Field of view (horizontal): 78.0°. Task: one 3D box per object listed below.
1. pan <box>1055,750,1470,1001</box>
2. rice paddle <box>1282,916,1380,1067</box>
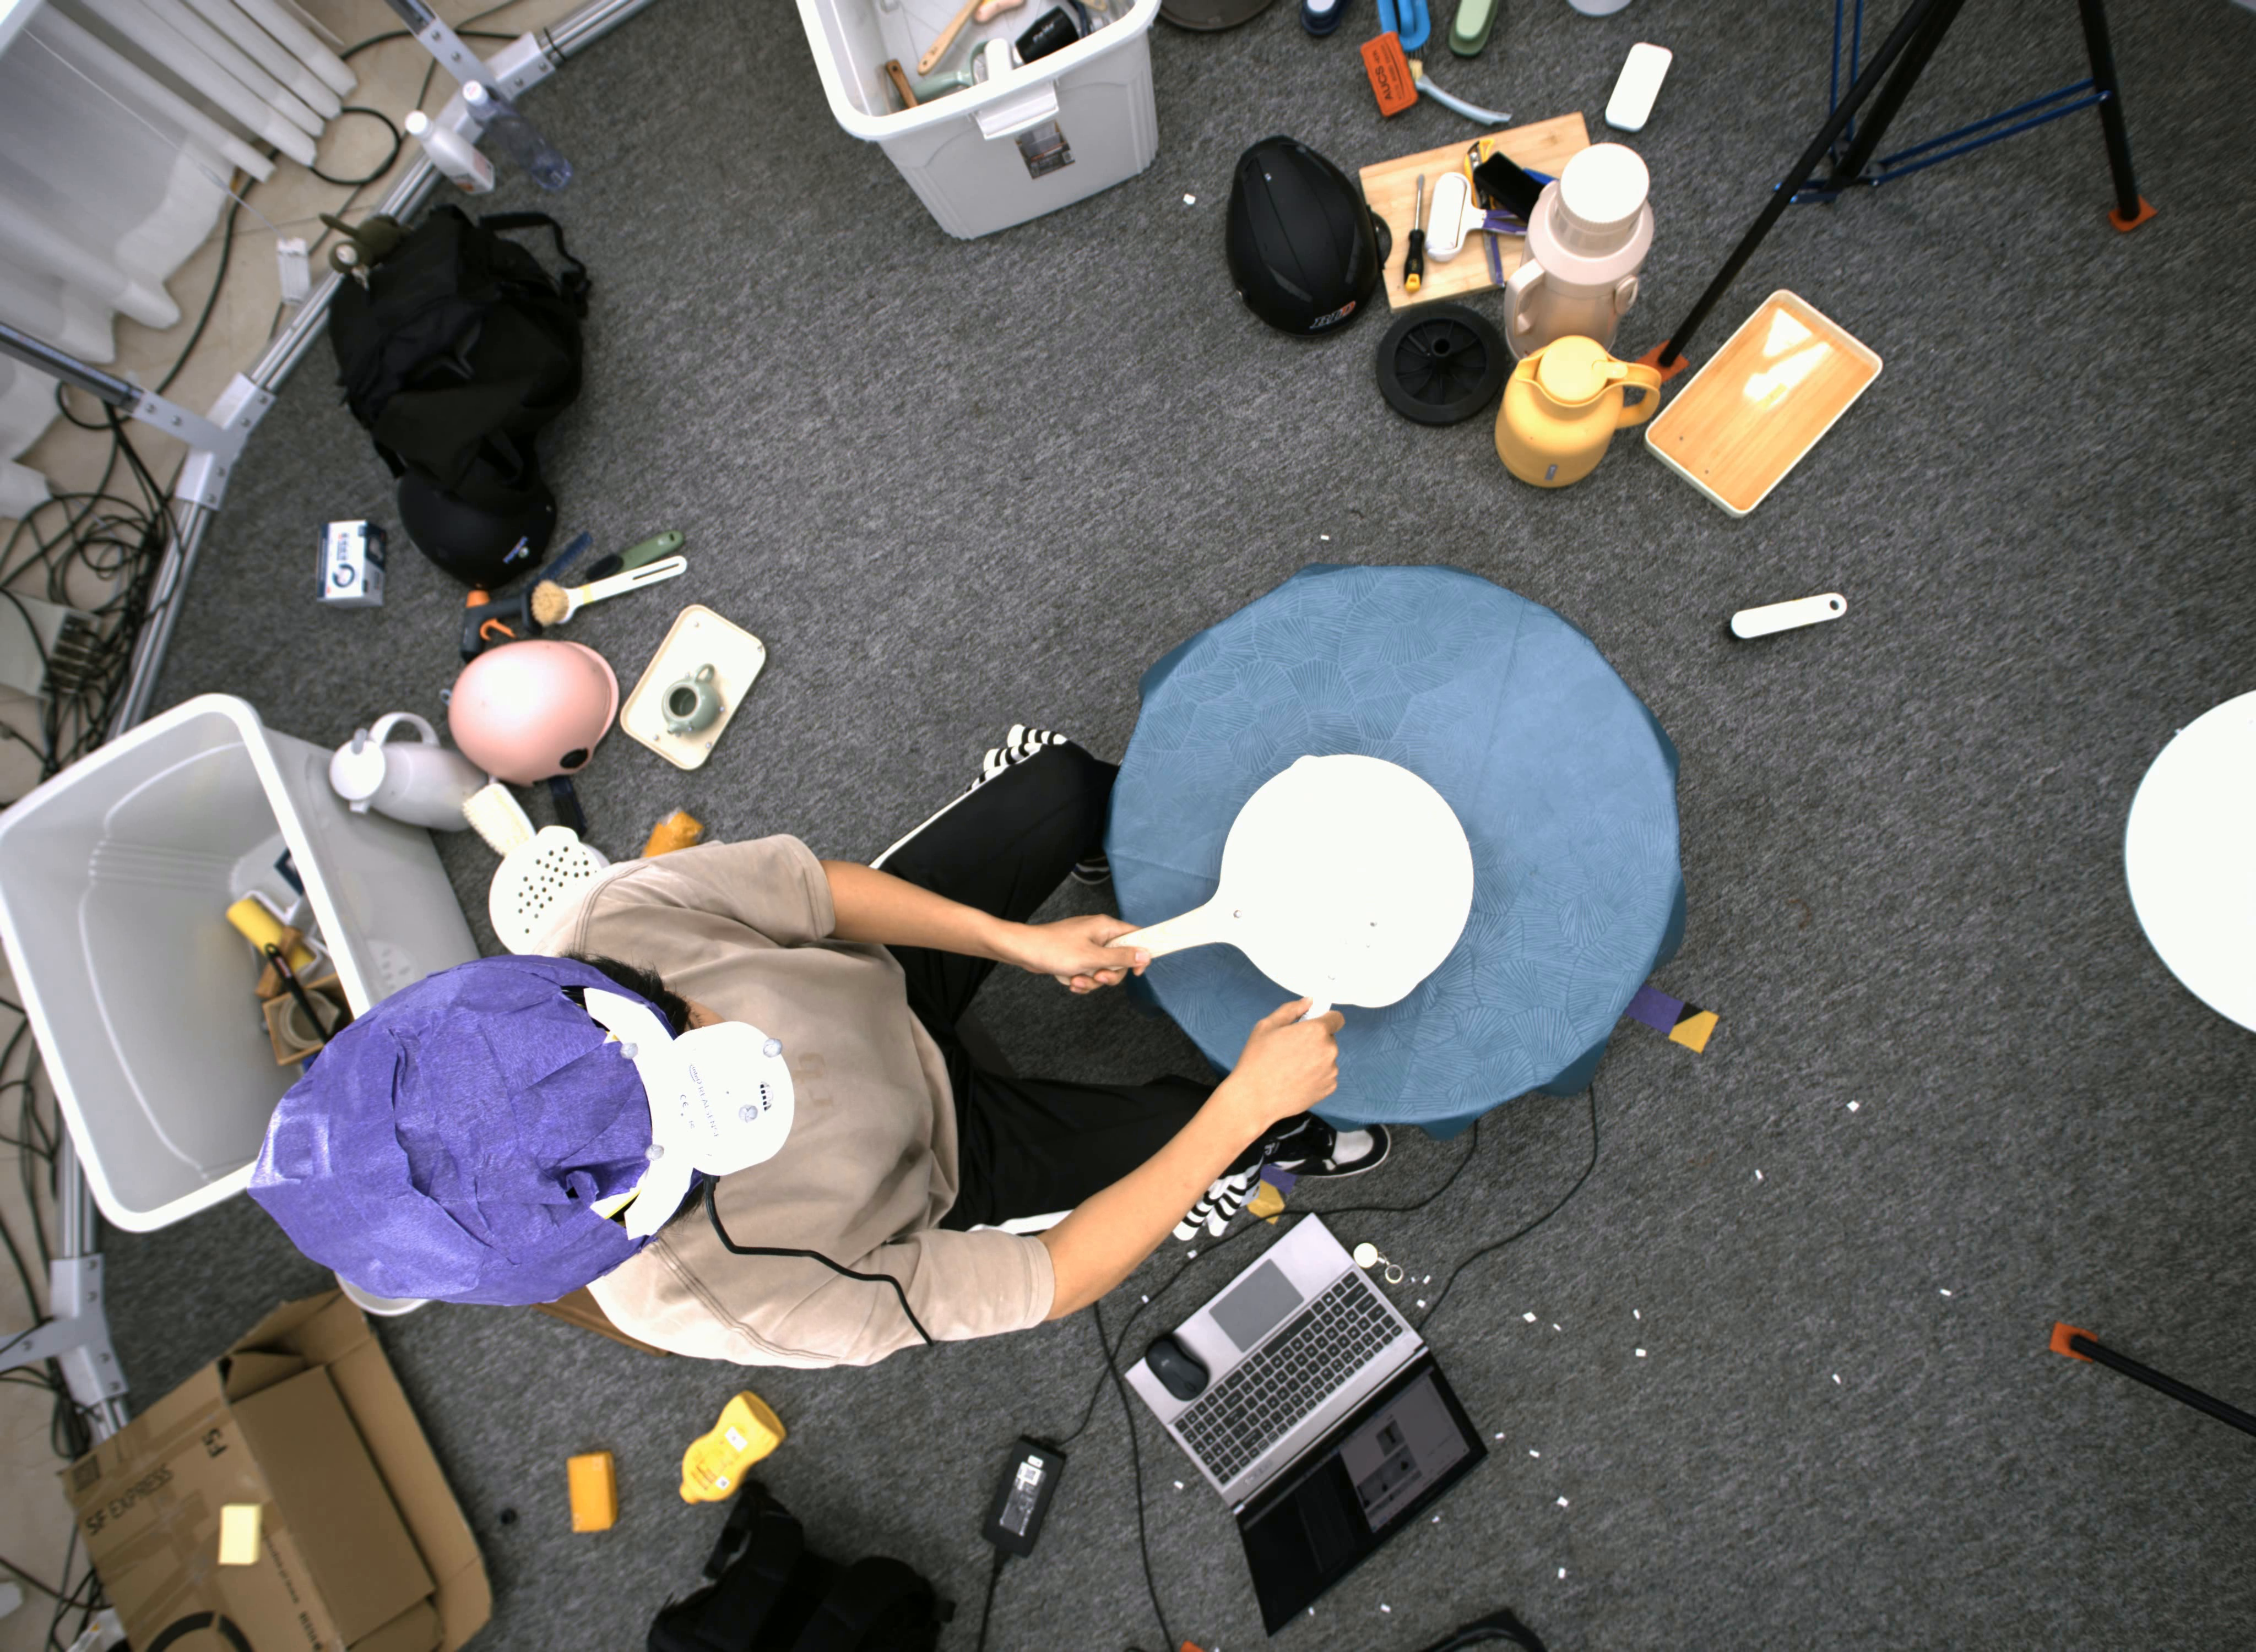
[{"bbox_3d":[0.136,0.081,1.437,0.437,0.102,0.262,-20,85,9],"label":"pan"},{"bbox_3d":[0.199,0.151,1.348,0.029,0.200,0.070,46,137,-10],"label":"rice paddle"}]
